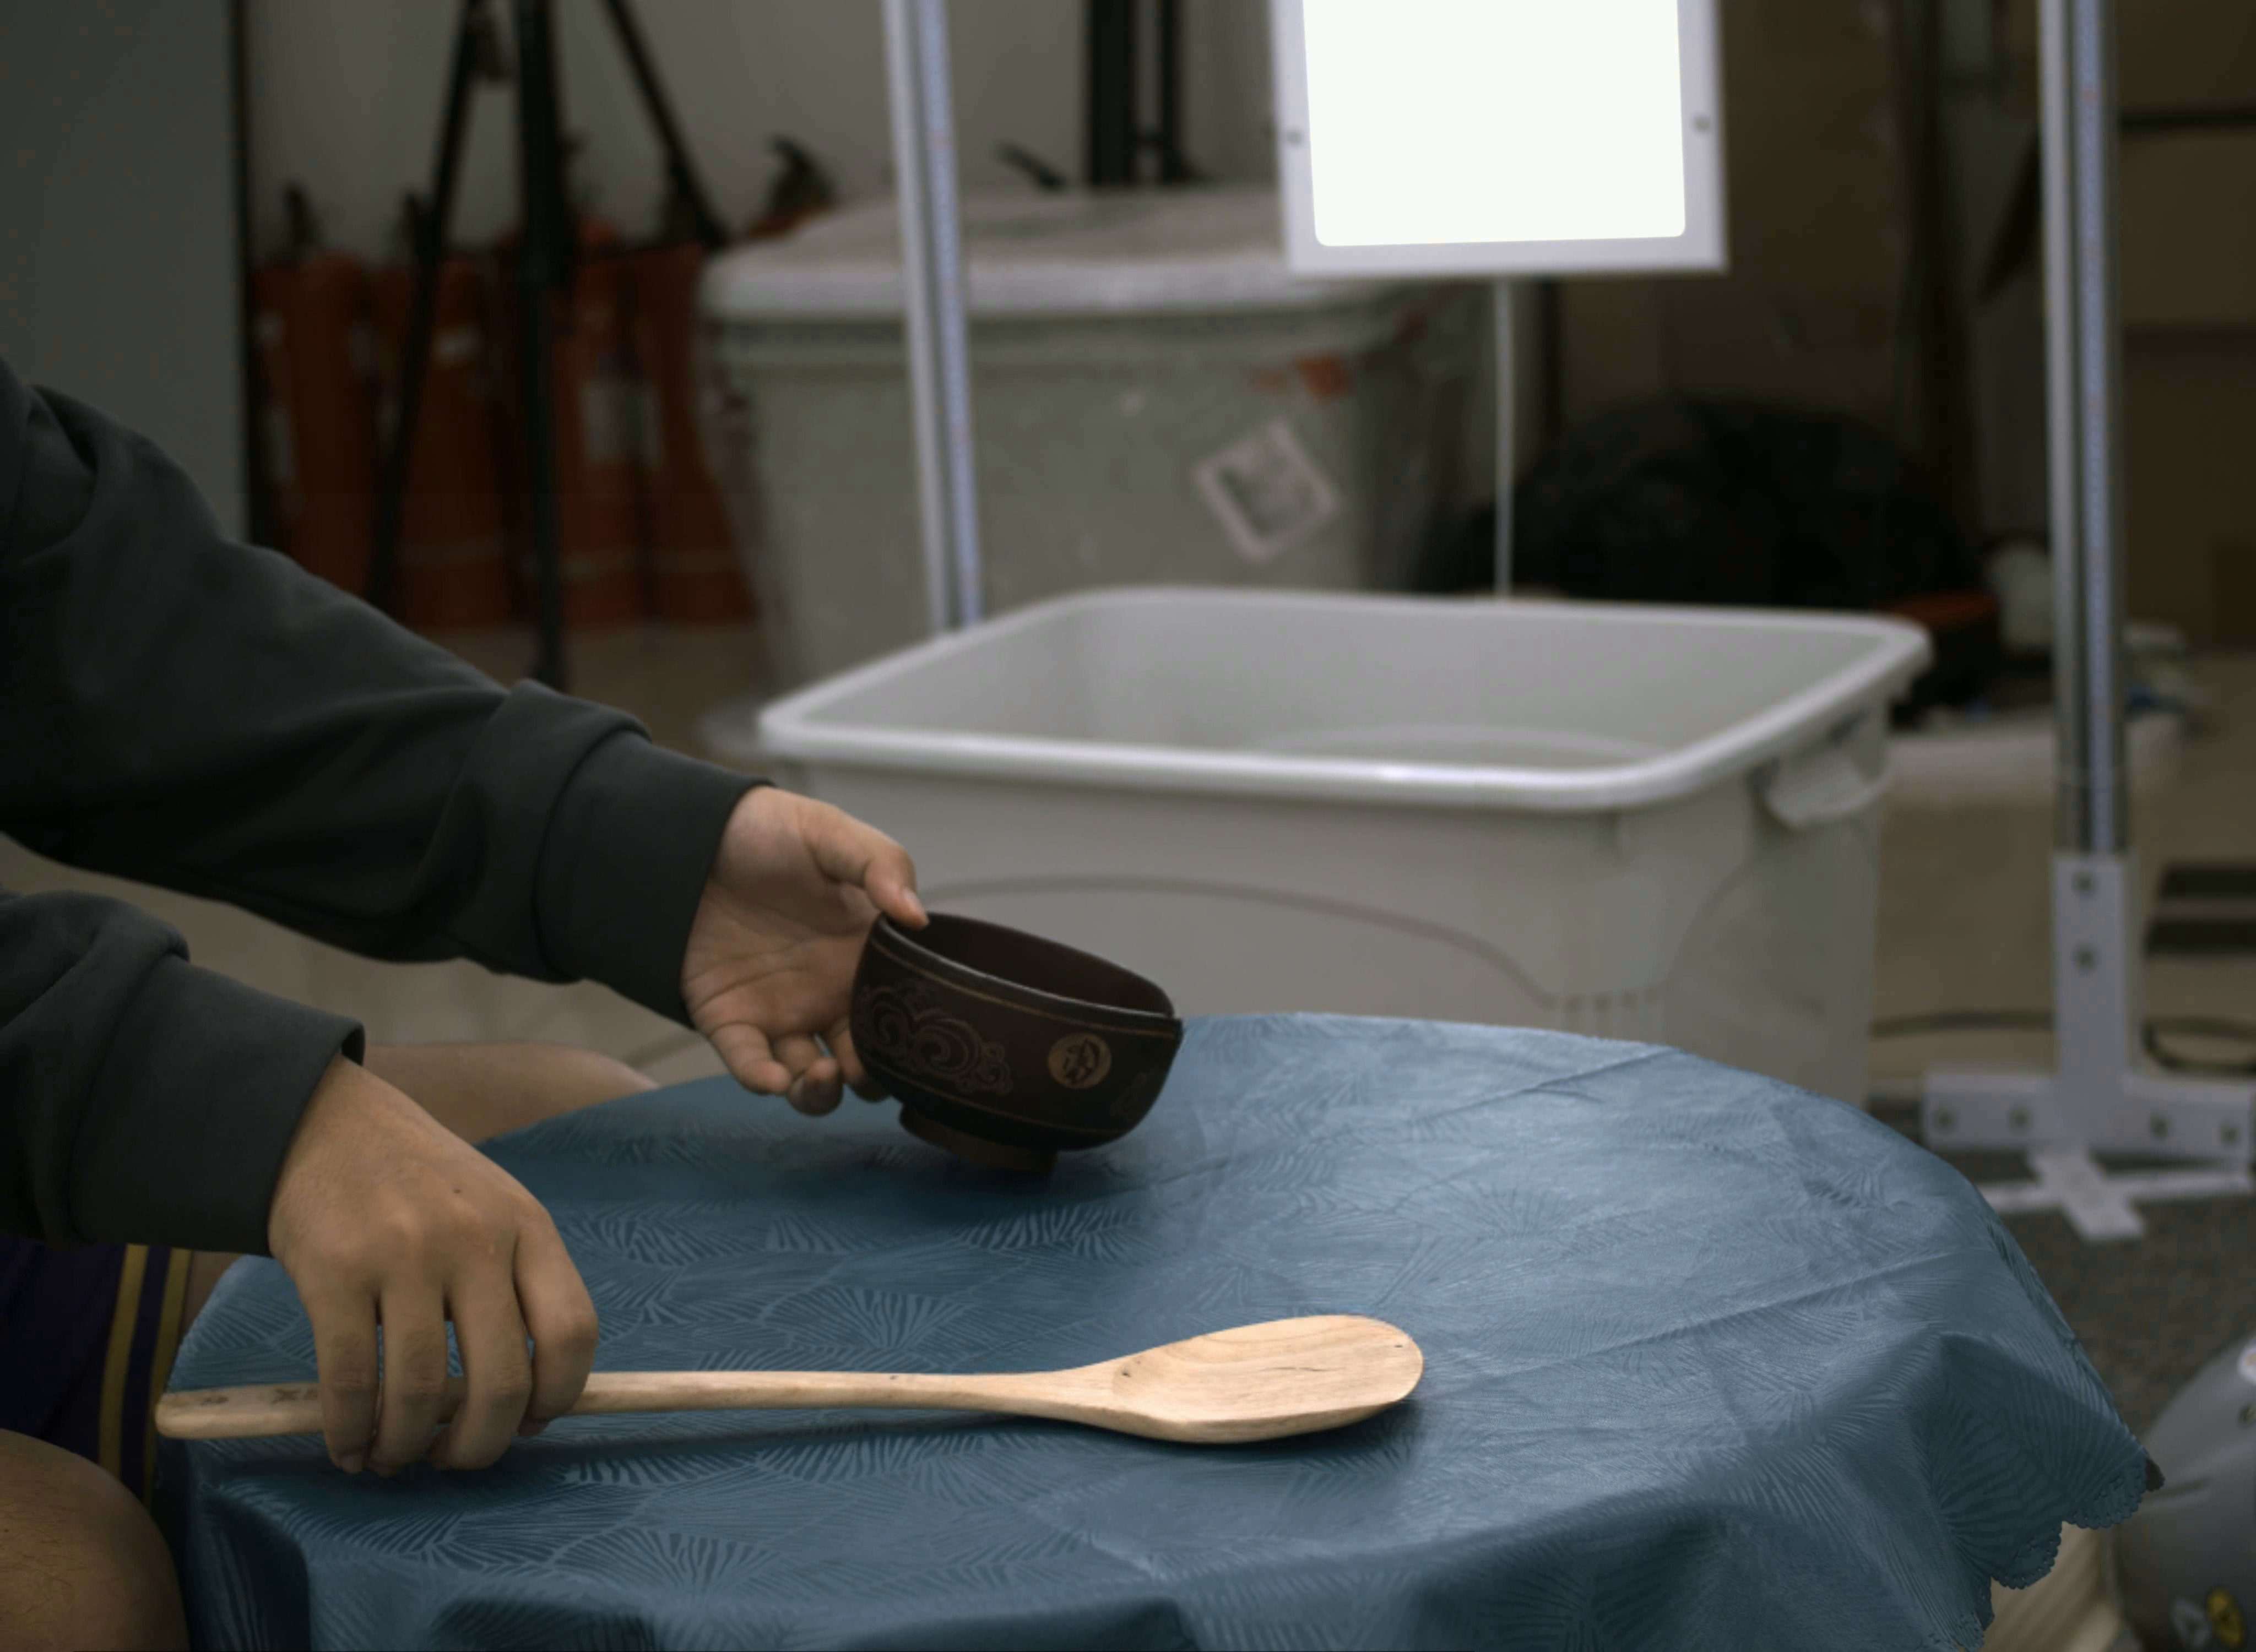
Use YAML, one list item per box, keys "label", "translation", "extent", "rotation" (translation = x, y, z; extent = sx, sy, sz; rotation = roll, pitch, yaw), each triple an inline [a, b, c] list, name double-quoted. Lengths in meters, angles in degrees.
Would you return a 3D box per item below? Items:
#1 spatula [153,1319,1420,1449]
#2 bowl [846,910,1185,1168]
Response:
- label: "spatula"
  translation: [-0.106, 0.175, 1.683]
  extent: [0.391, 0.018, 0.095]
  rotation: [-1, 12, 5]
- label: "bowl"
  translation: [-0.044, 0.078, 1.929]
  extent: [0.117, 0.070, 0.118]
  rotation: [14, 7, -3]
